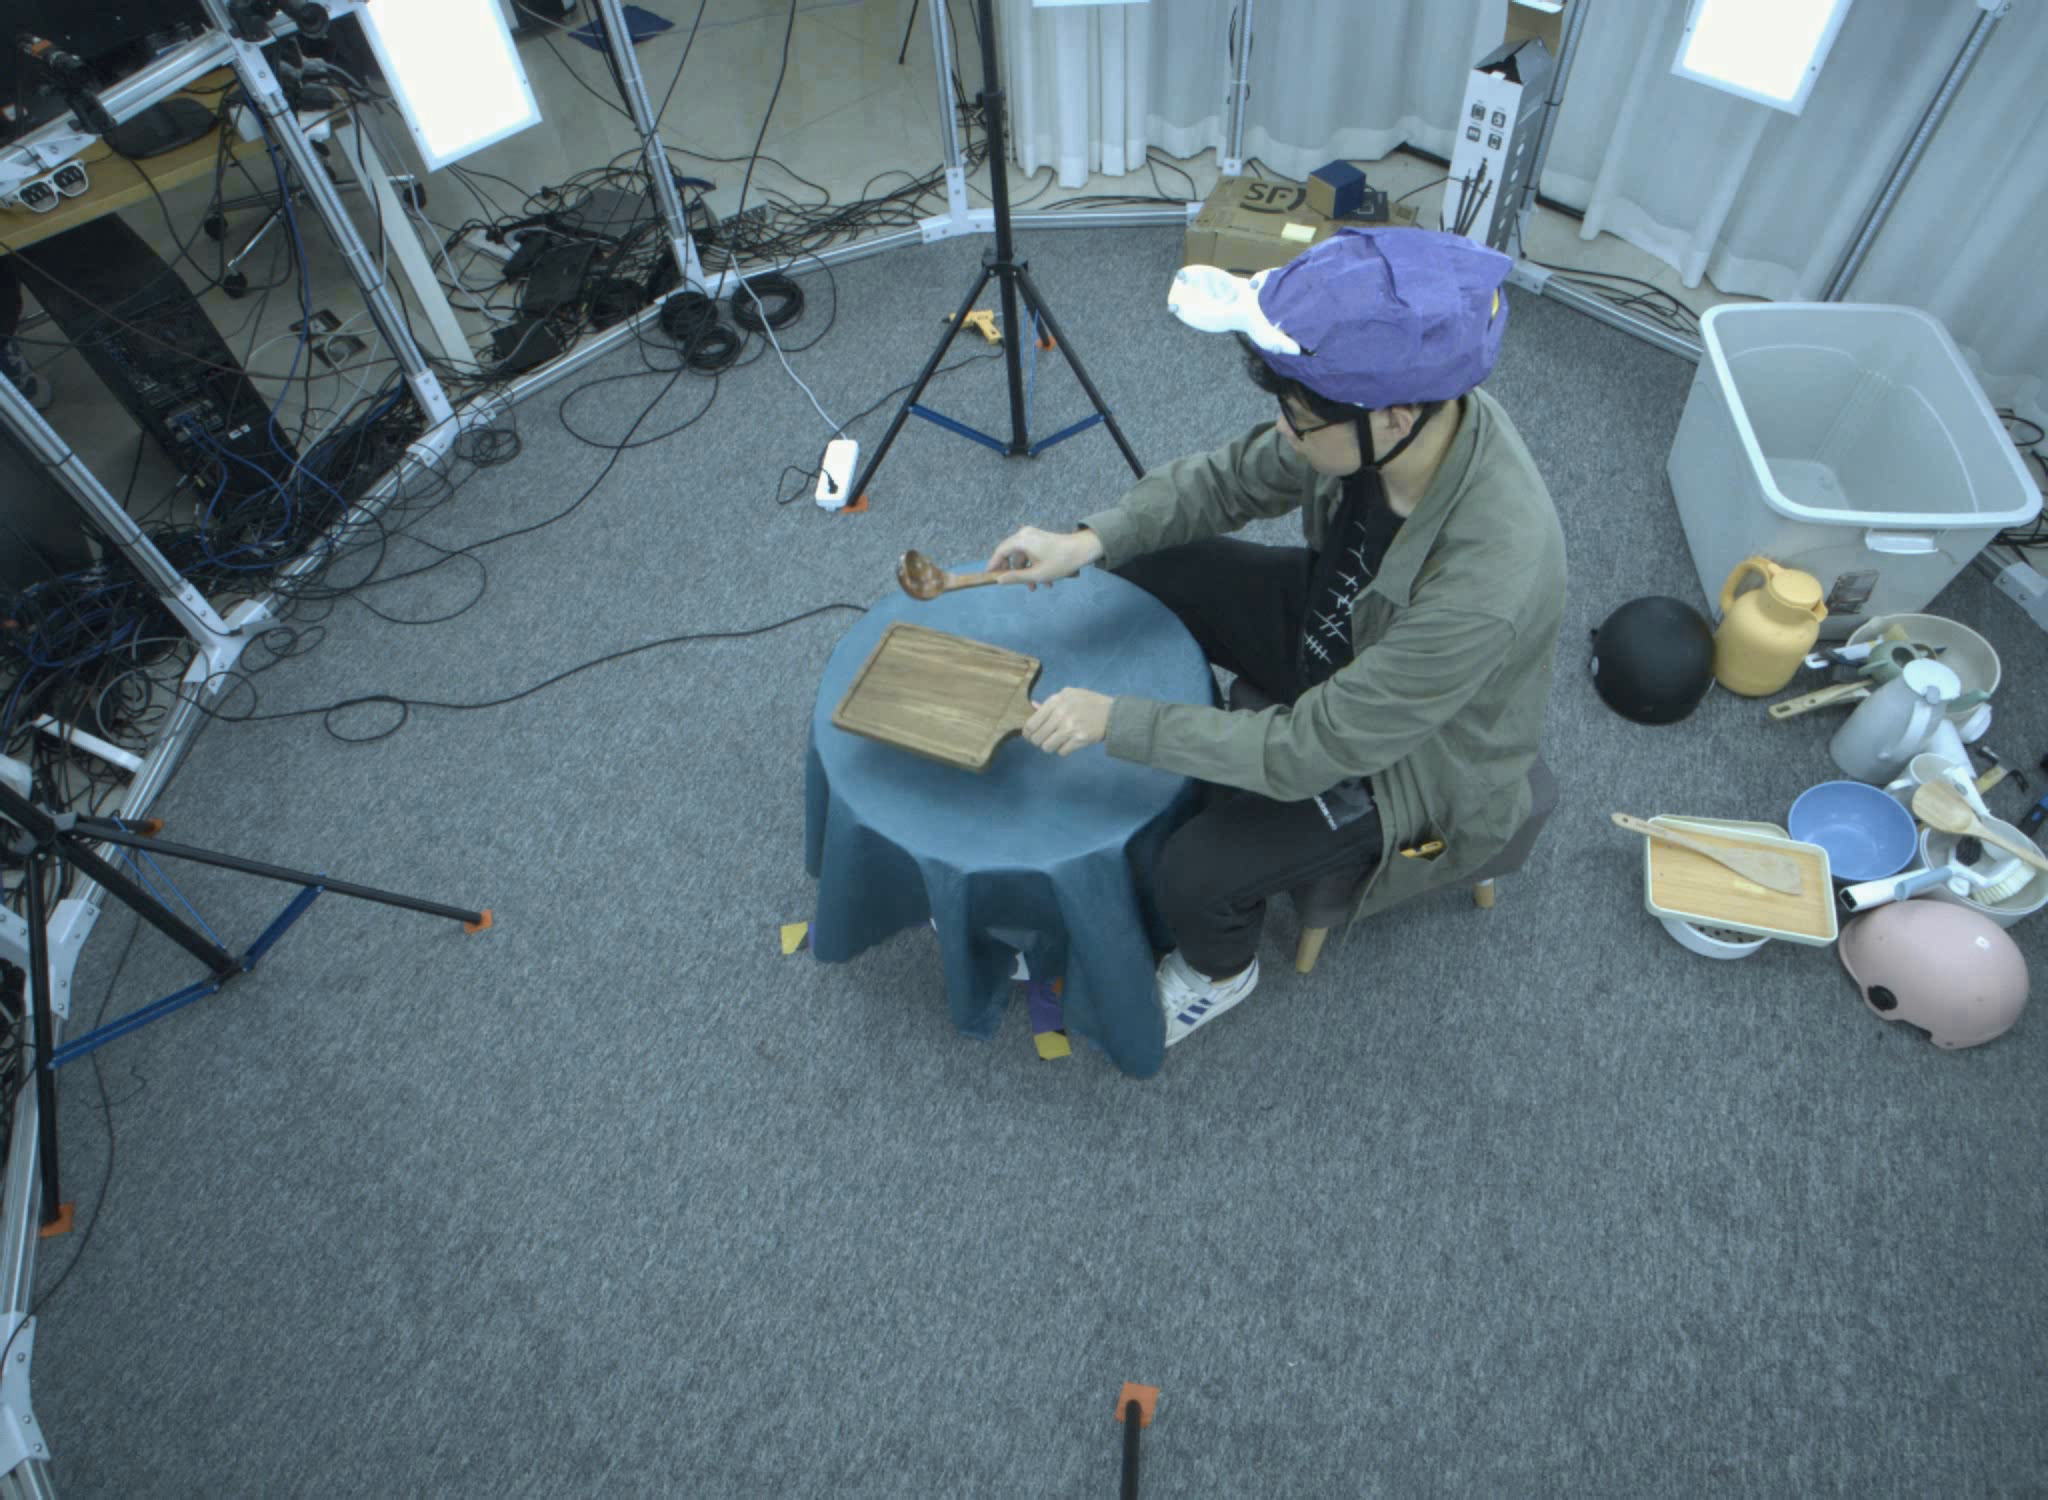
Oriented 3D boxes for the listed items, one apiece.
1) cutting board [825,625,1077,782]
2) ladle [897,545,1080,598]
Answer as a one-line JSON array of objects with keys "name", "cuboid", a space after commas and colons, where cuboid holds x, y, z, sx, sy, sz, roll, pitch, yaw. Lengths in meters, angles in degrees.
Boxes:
[{"name": "cutting board", "cuboid": [-0.088, -0.057, 1.717, 0.347, 0.023, 0.201, 19, 62, 19]}, {"name": "ladle", "cuboid": [-0.051, -0.271, 1.810, 0.276, 0.077, 0.081, -6, 72, -8]}]
